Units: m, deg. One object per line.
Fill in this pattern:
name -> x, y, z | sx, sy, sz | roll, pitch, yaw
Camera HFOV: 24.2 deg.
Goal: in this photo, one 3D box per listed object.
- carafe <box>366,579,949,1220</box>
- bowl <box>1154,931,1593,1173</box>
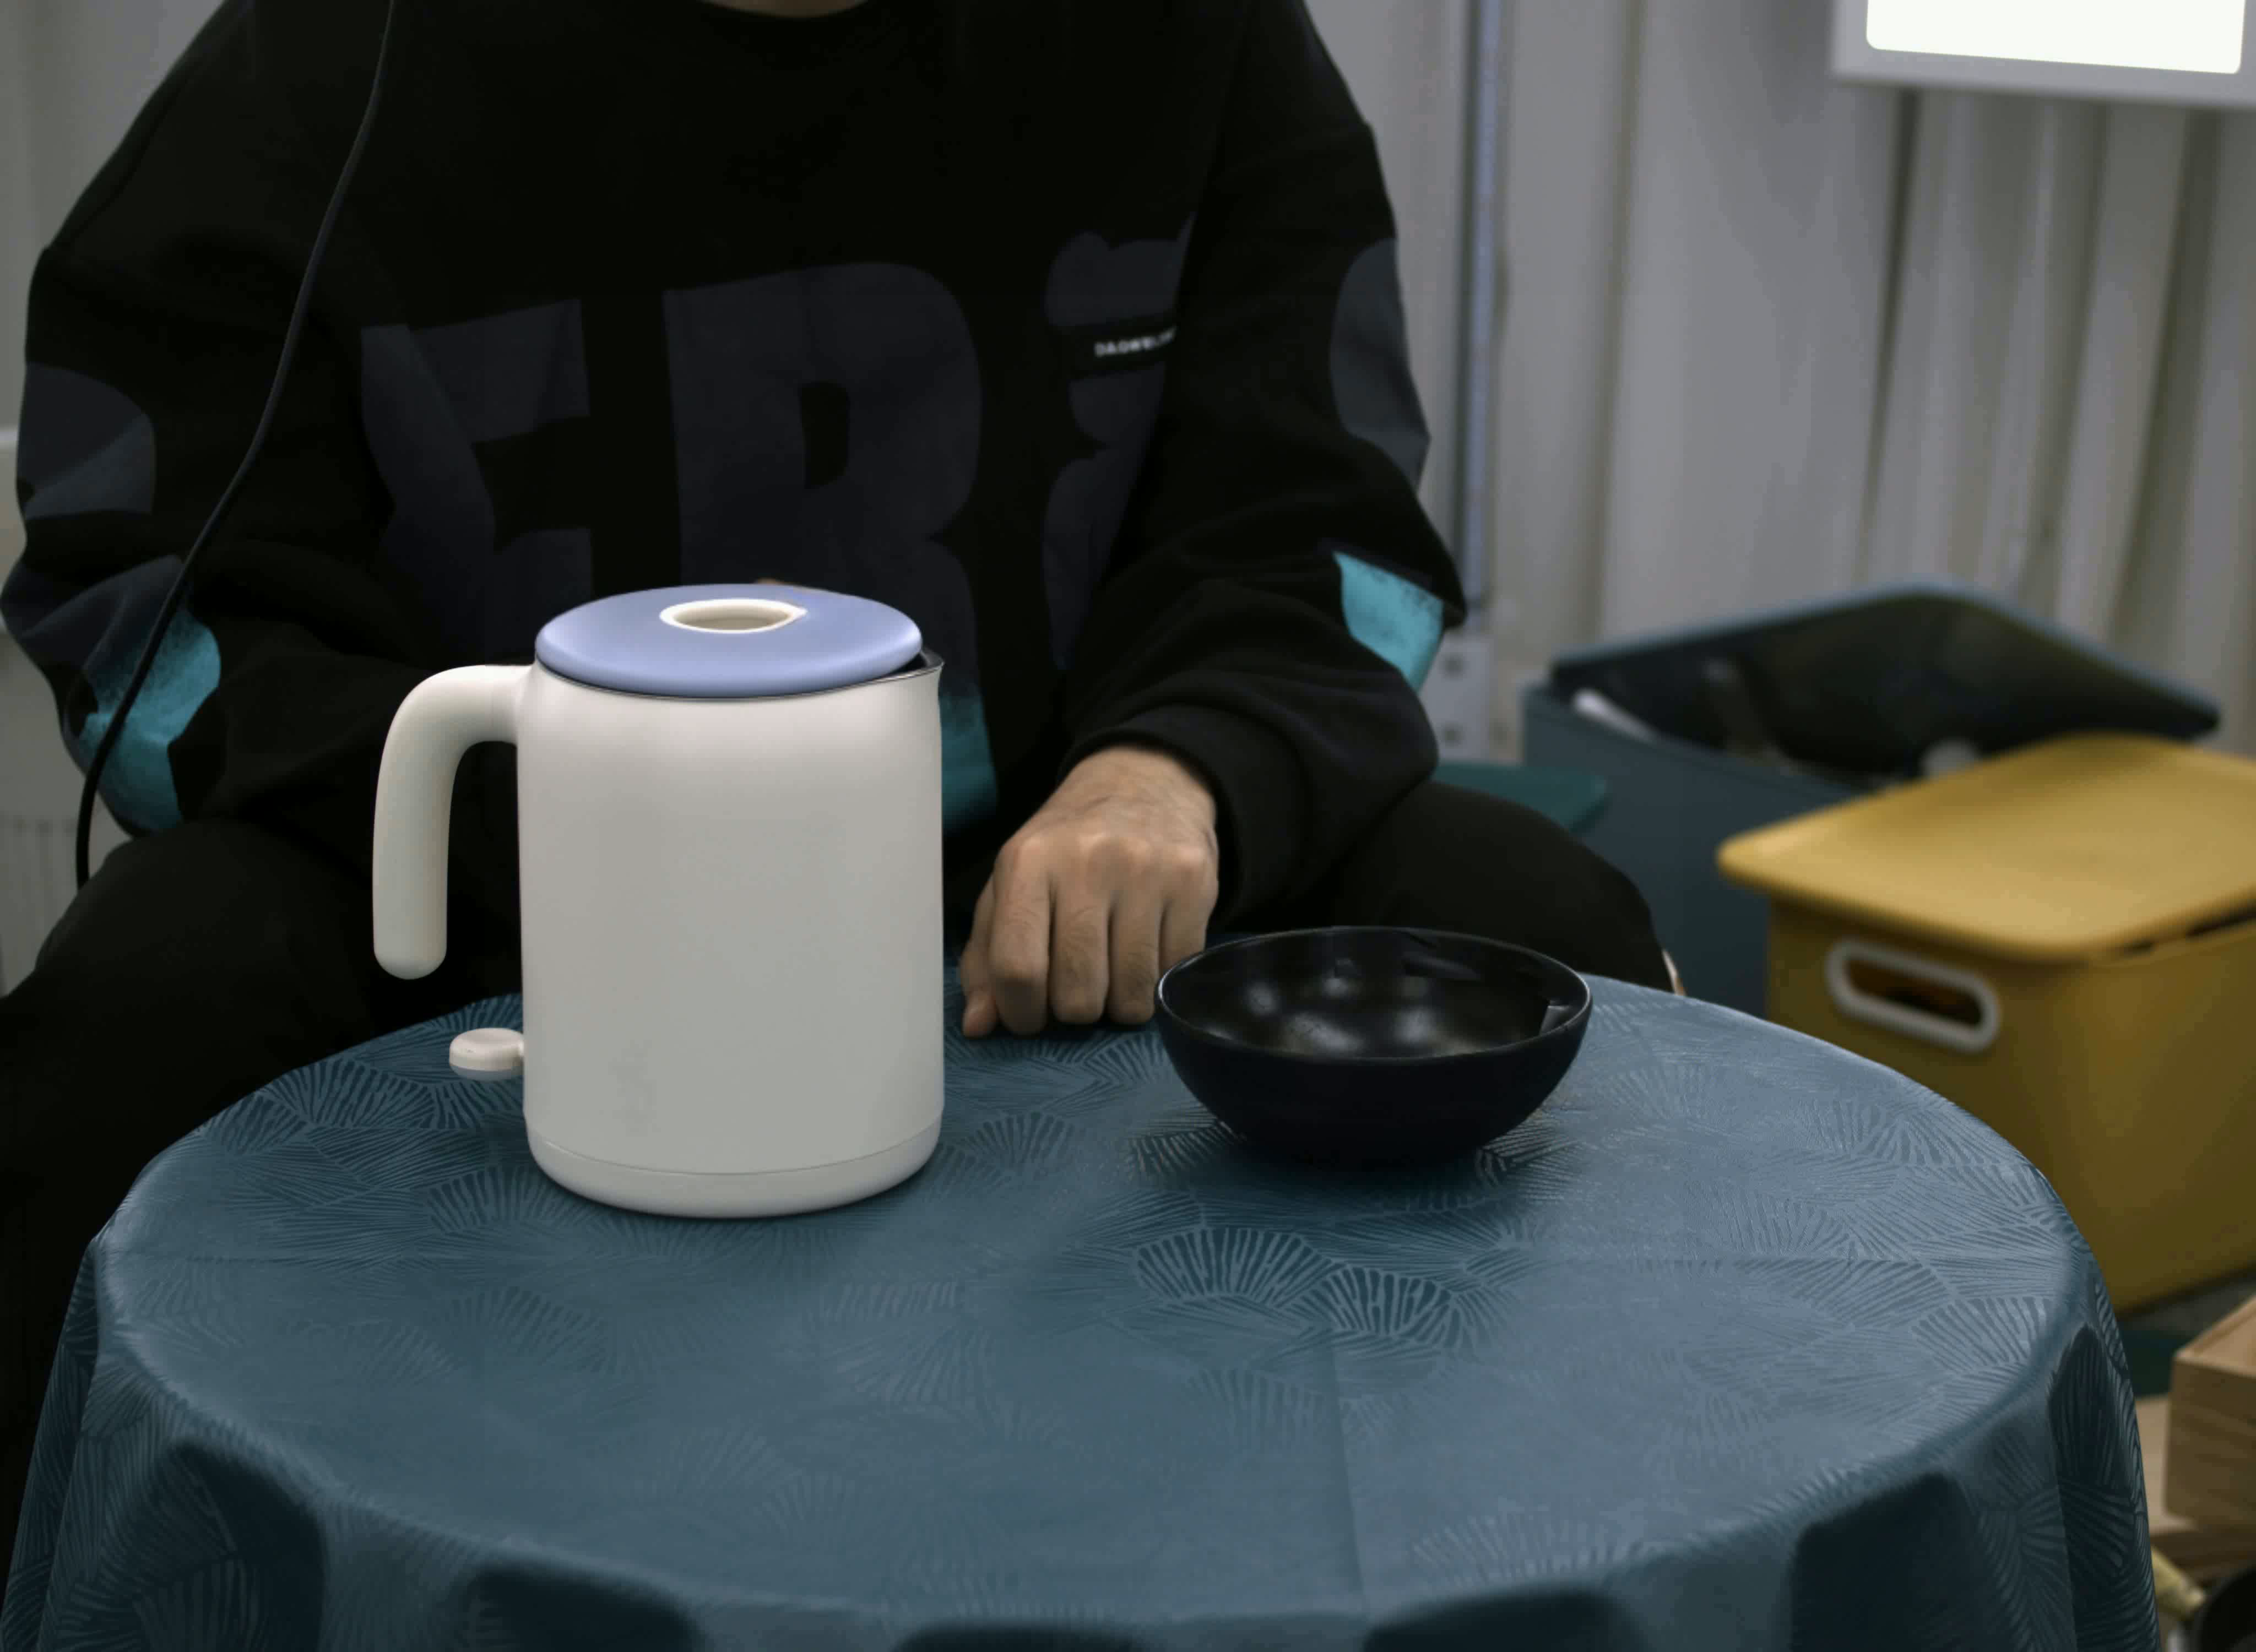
carafe -> -0.146, 0.021, 1.626 | 0.189, 0.184, 0.132 | 2, 15, 13
bowl -> 0.078, 0.075, 1.664 | 0.139, 0.050, 0.139 | -1, 15, 1
